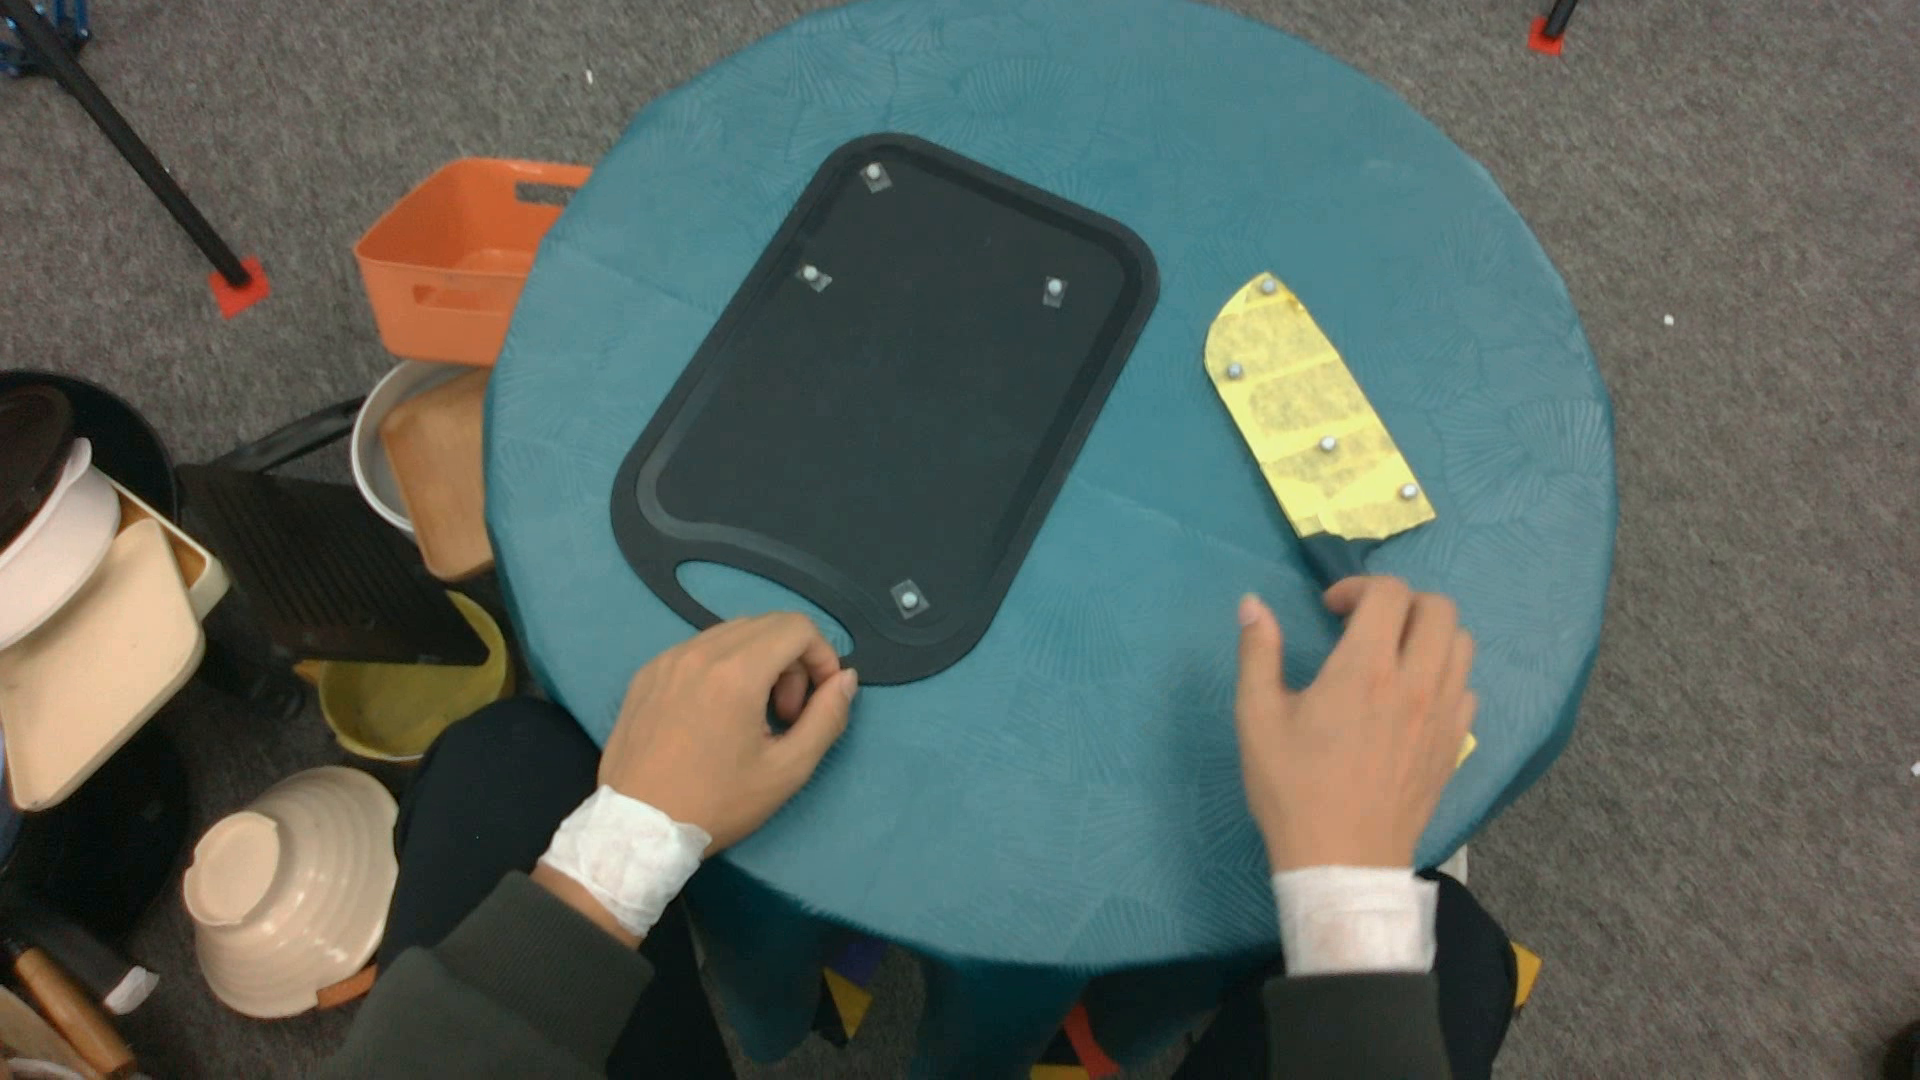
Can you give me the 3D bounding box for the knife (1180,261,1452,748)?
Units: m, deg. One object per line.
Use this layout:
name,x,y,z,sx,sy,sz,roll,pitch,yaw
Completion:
knife,0.191,-0.030,0.718,0.081,0.027,0.290,-17,68,-9

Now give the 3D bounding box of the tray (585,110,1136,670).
tray,-0.049,-0.088,0.731,0.211,0.010,0.326,25,68,7
